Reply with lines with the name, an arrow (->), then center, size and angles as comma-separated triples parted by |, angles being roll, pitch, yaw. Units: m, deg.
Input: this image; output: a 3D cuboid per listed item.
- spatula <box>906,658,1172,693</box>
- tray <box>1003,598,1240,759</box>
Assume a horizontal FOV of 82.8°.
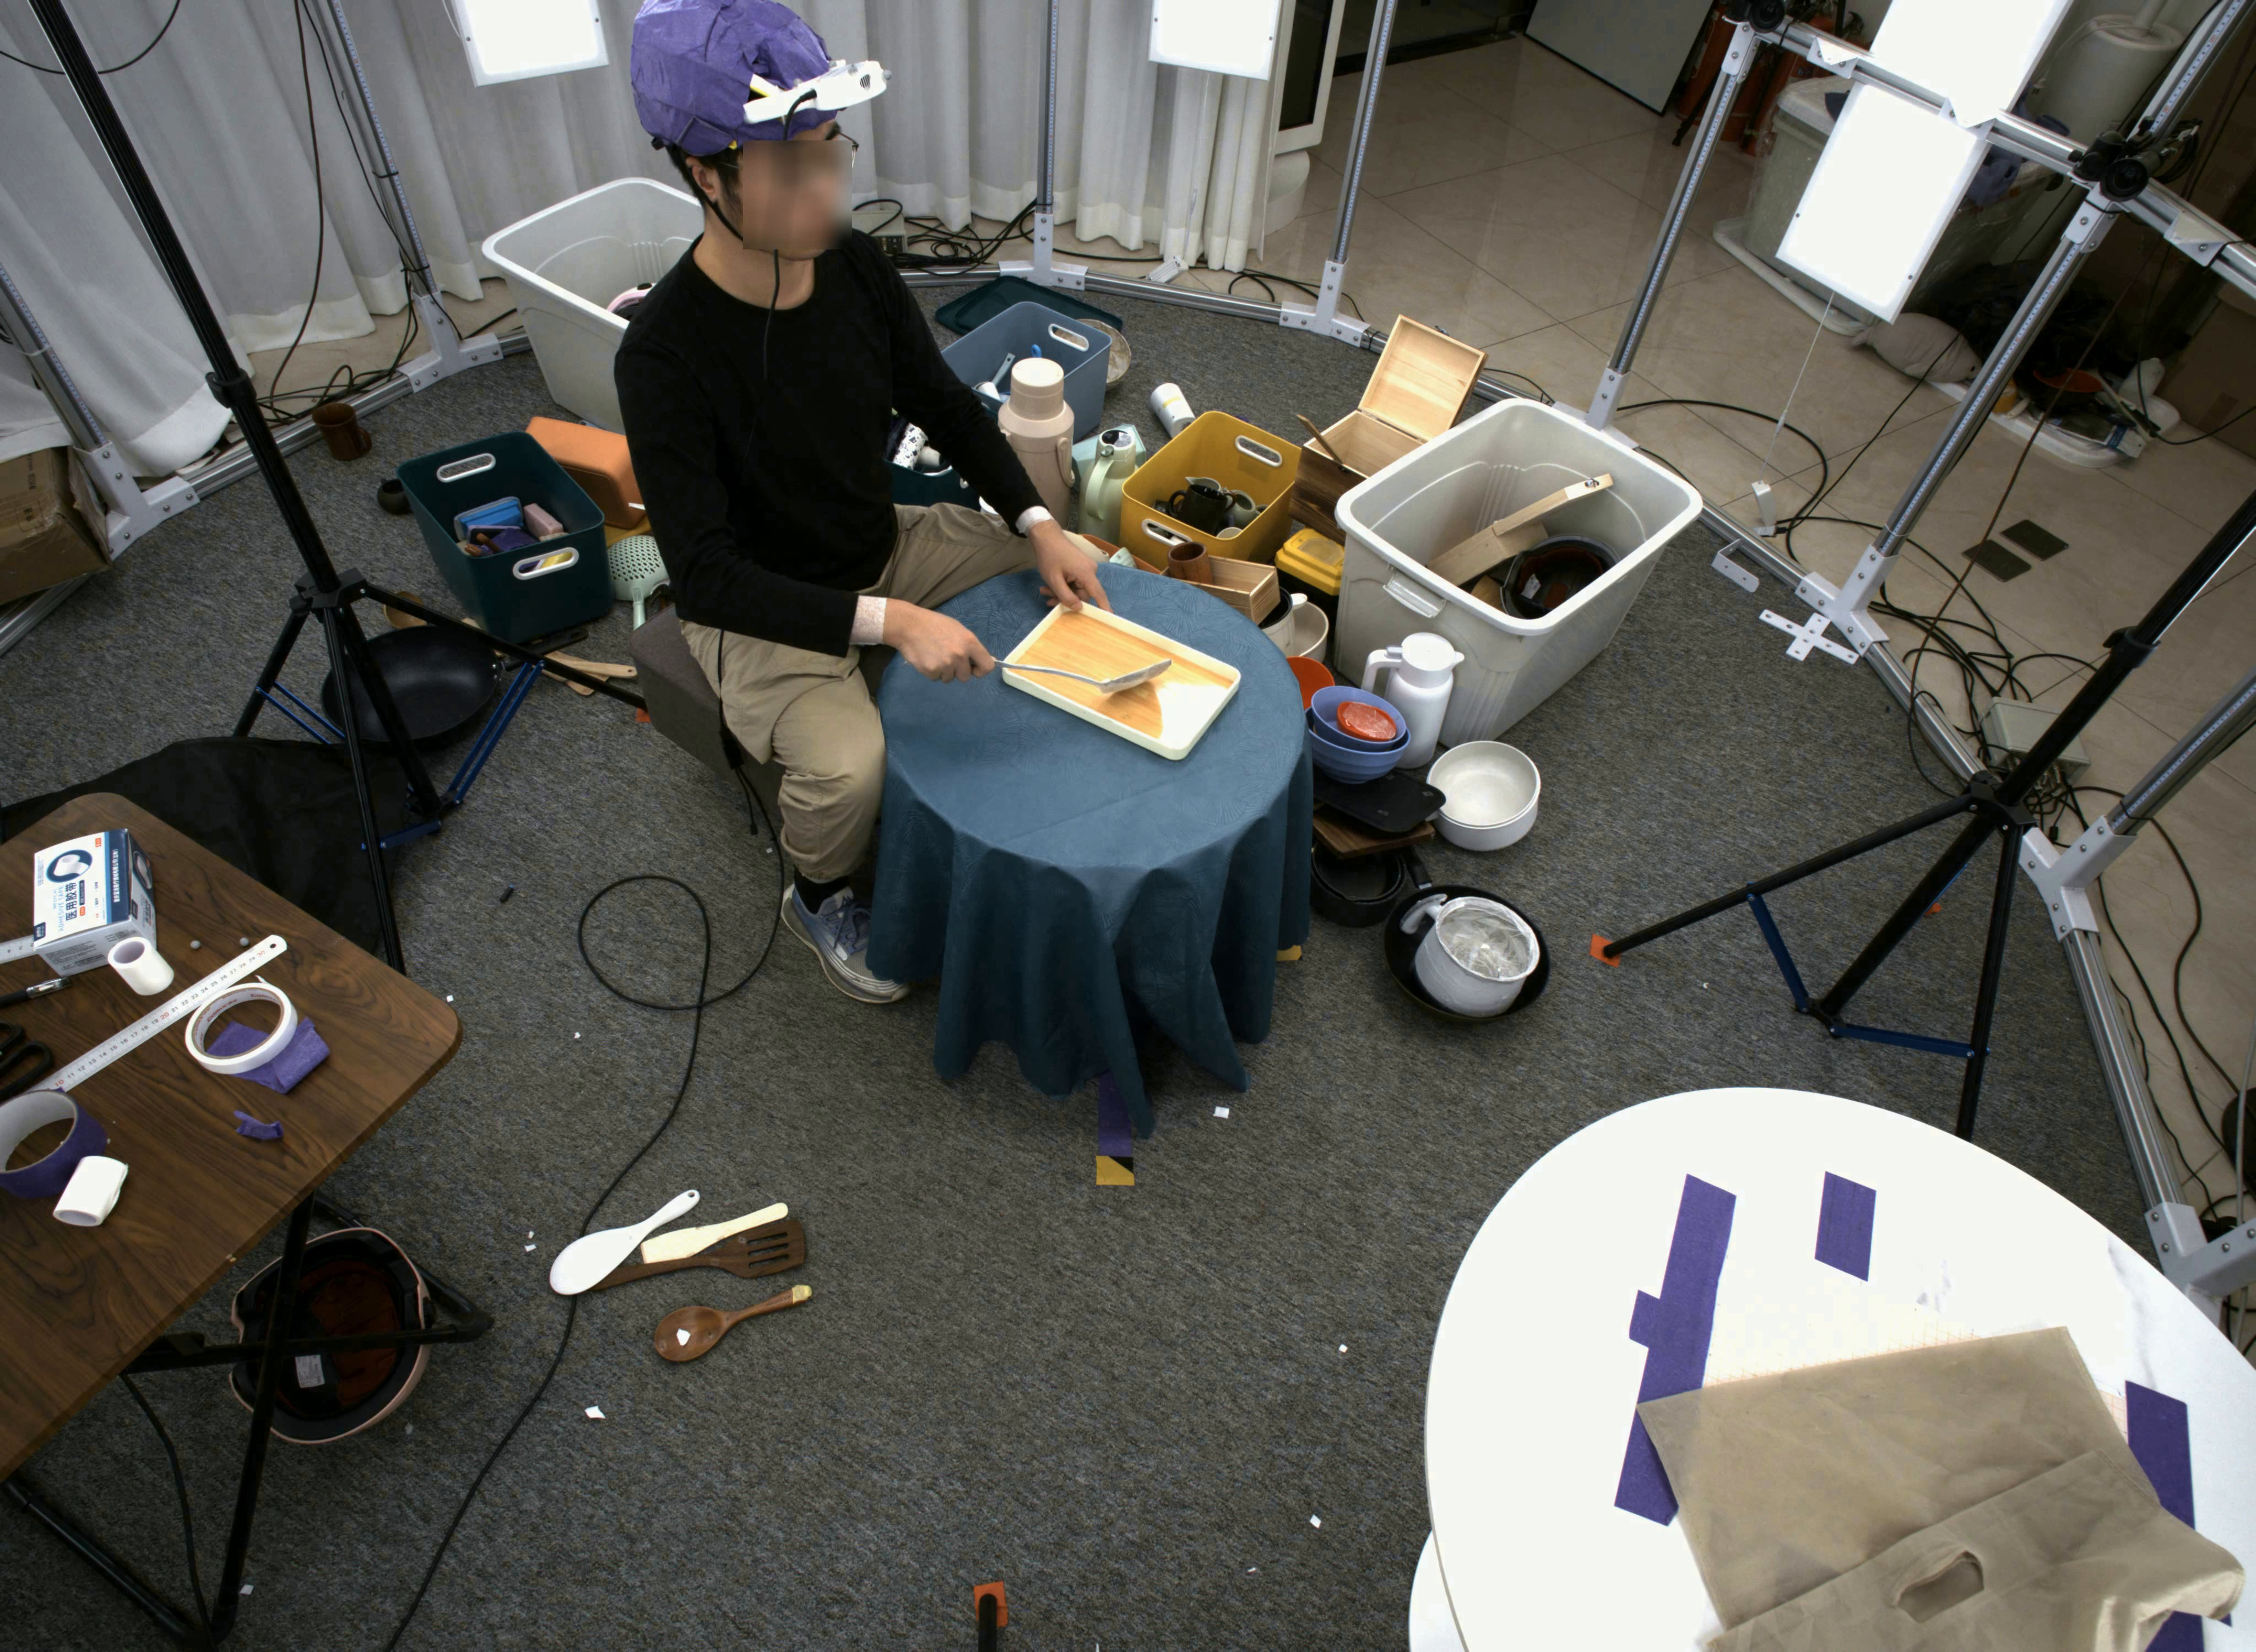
spatula -> -0.116, -0.216, 1.748 | 0.363, 0.098, 0.045 | 5, 78, -18
tray -> -0.009, -0.216, 1.839 | 0.303, 0.027, 0.194 | 26, 52, 18
